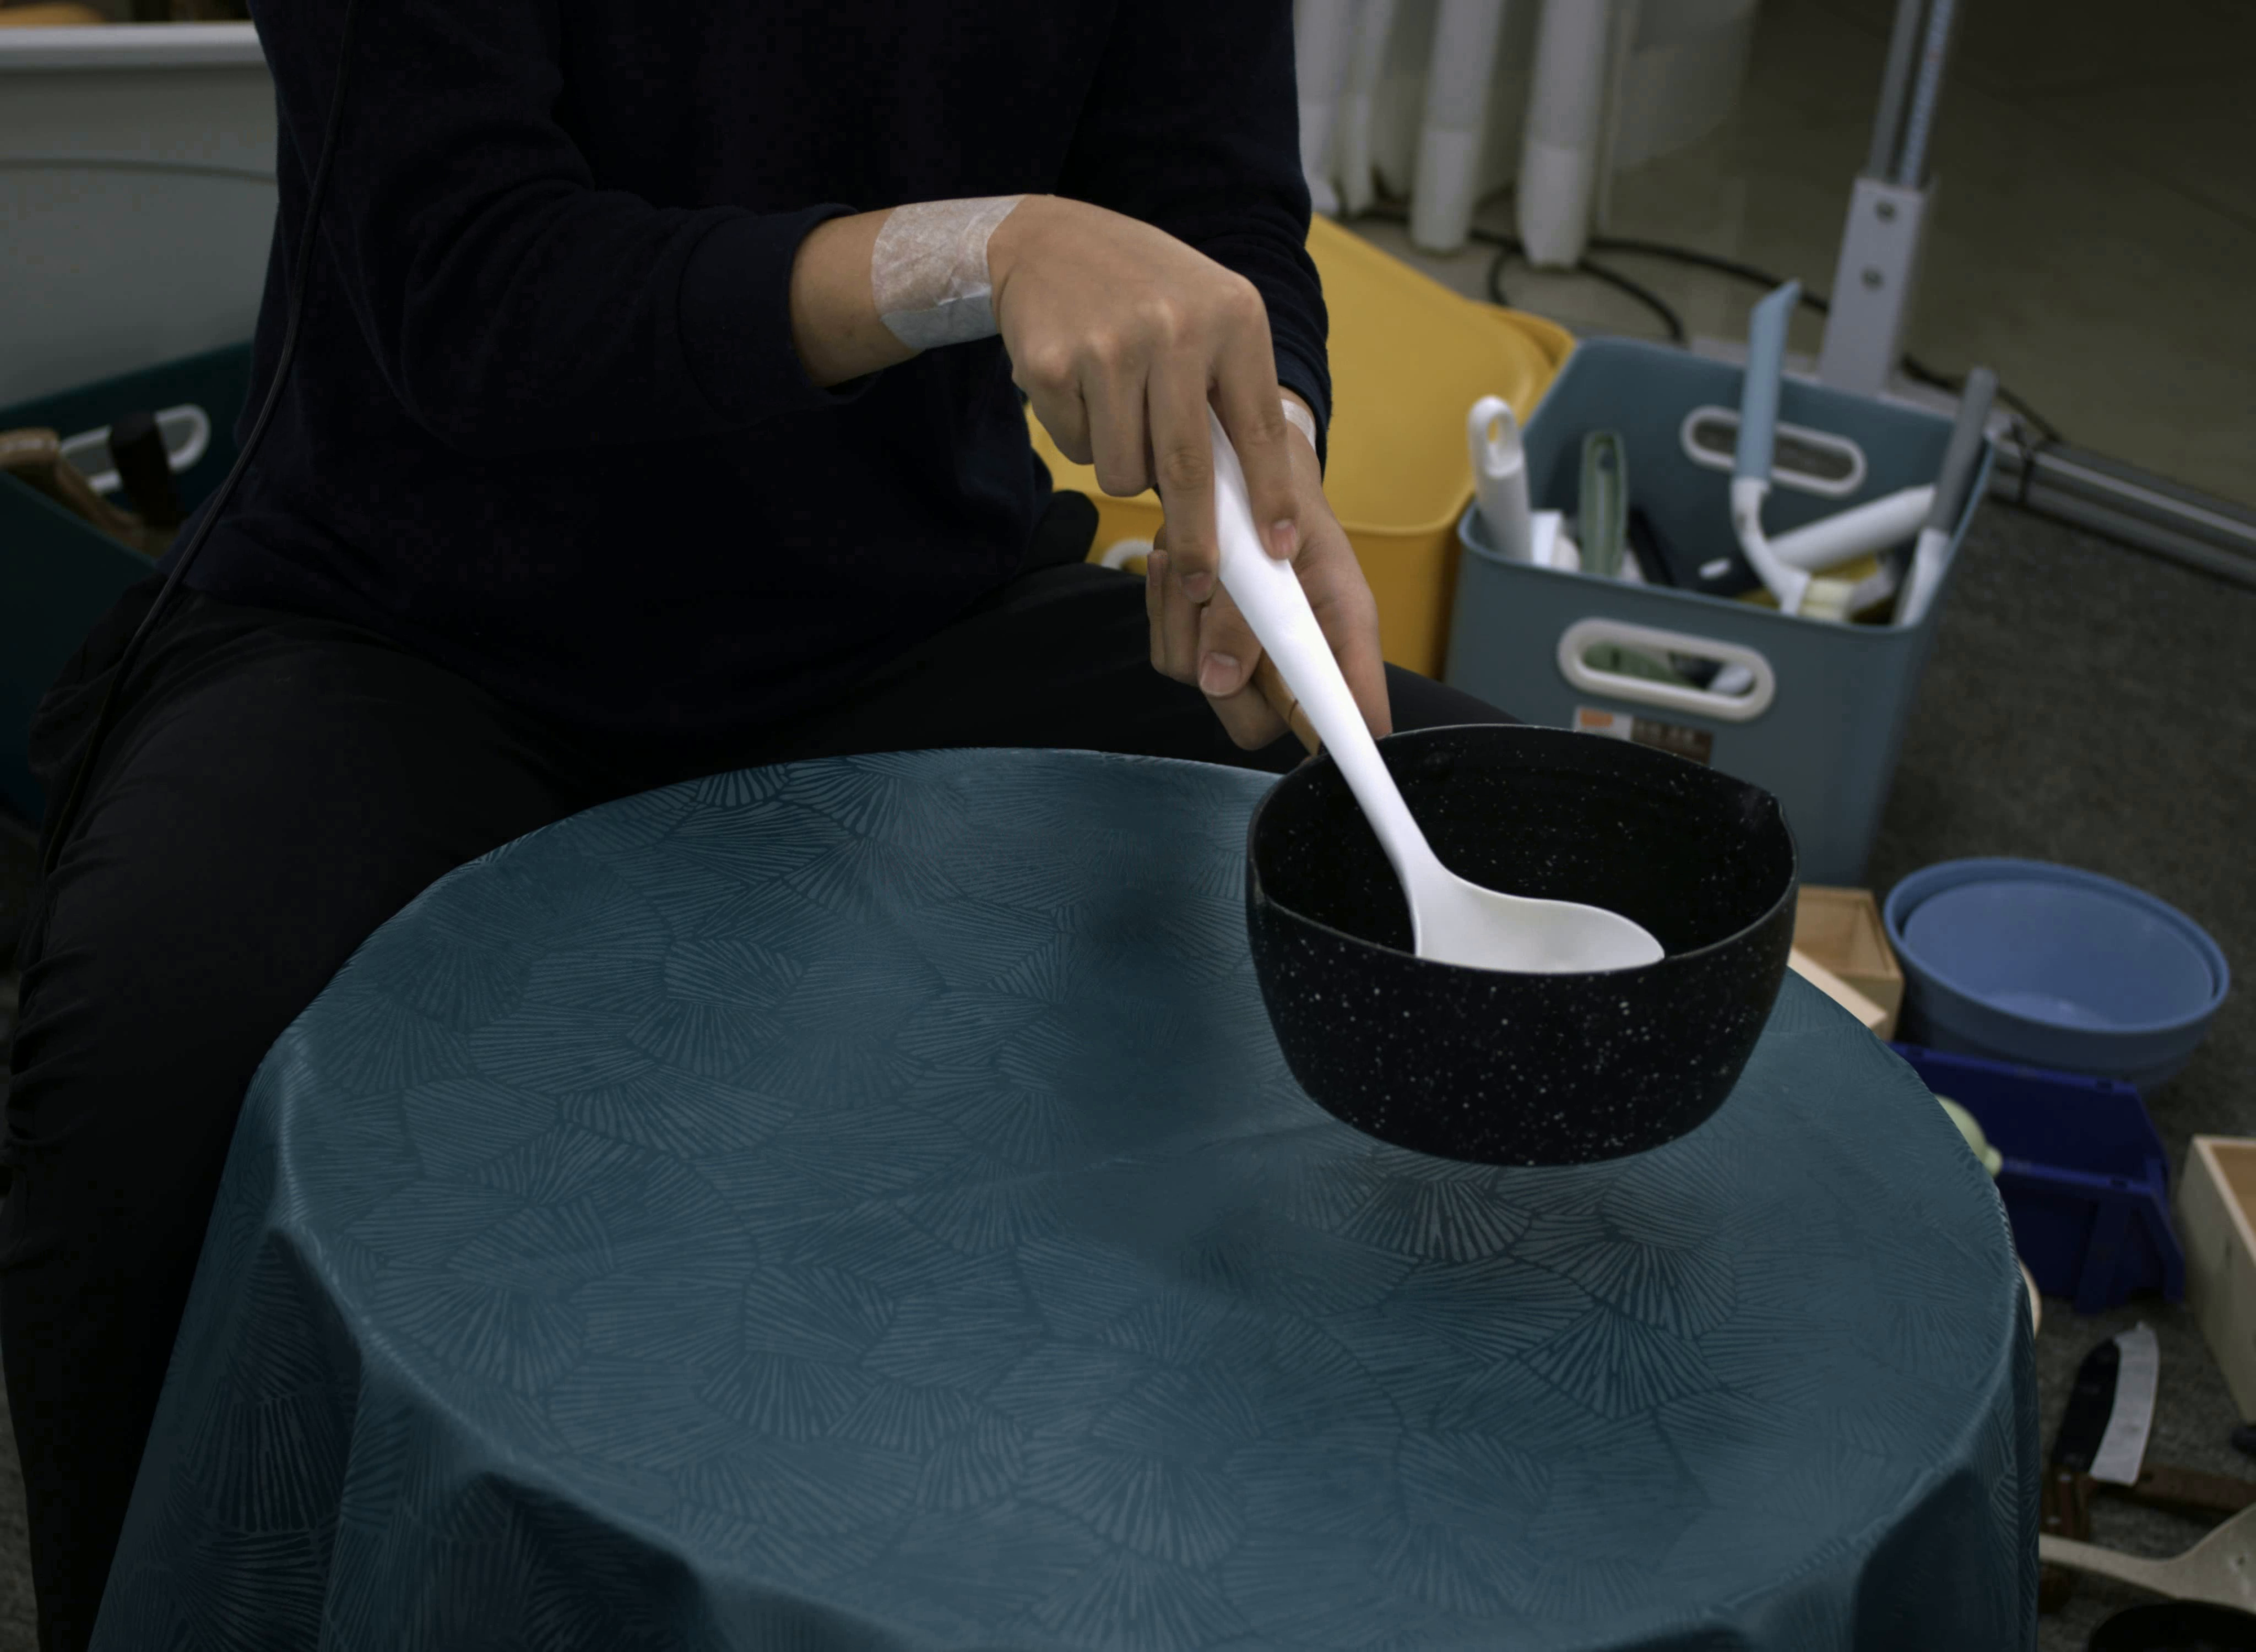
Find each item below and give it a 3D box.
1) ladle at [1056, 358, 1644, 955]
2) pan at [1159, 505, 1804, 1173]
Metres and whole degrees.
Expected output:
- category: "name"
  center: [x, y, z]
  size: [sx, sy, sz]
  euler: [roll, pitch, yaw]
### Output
- category: "ladle"
  center: [0.068, -0.039, 1.804]
  size: [0.090, 0.070, 0.294]
  euler: [-28, 79, -20]
- category: "pan"
  center: [0.094, 0.000, 1.840]
  size: [0.206, 0.108, 0.346]
  euler: [-13, 31, -24]
